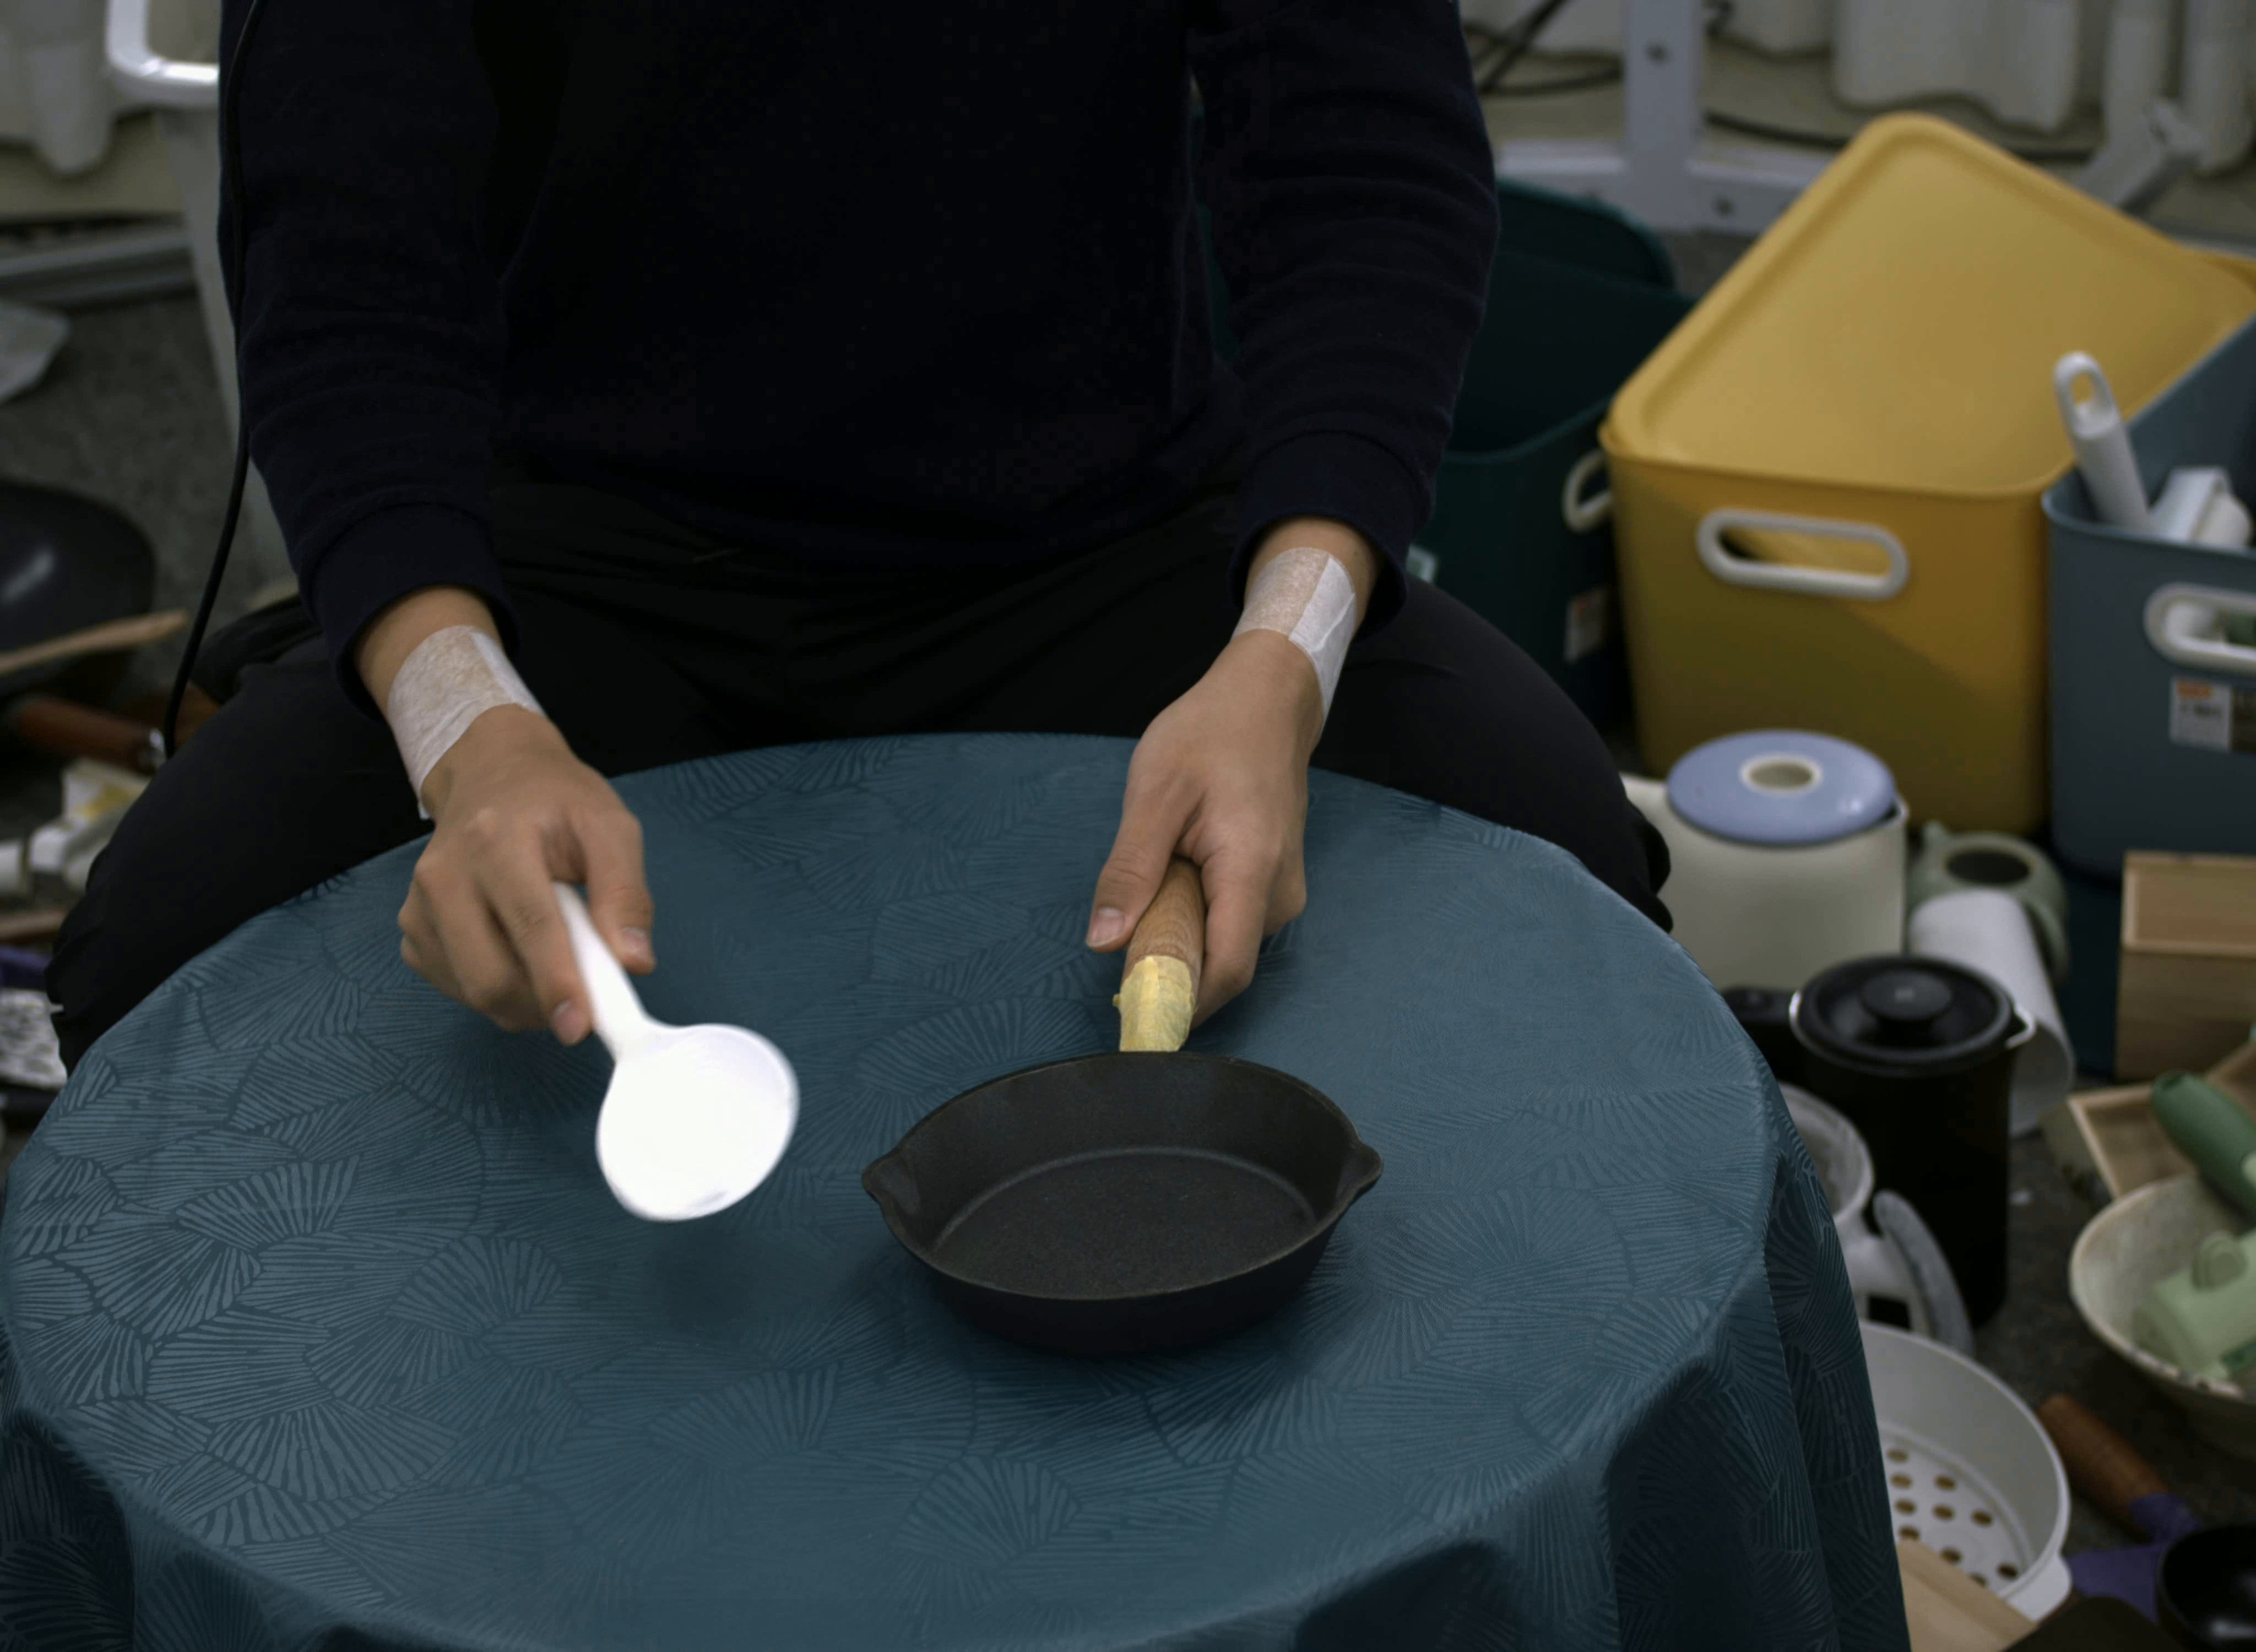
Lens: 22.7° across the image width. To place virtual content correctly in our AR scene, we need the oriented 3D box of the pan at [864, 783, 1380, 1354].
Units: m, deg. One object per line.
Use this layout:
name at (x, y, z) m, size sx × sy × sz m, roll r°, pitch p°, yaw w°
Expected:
pan at (0.009, 0.079, 1.890) m, size 0.168 × 0.049 × 0.329 m, roll -1°, pitch 28°, yaw 9°

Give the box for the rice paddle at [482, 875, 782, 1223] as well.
rice paddle at (-0.166, 0.072, 1.852) m, size 0.069 × 0.029 × 0.206 m, roll -43°, pitch 35°, yaw -2°
